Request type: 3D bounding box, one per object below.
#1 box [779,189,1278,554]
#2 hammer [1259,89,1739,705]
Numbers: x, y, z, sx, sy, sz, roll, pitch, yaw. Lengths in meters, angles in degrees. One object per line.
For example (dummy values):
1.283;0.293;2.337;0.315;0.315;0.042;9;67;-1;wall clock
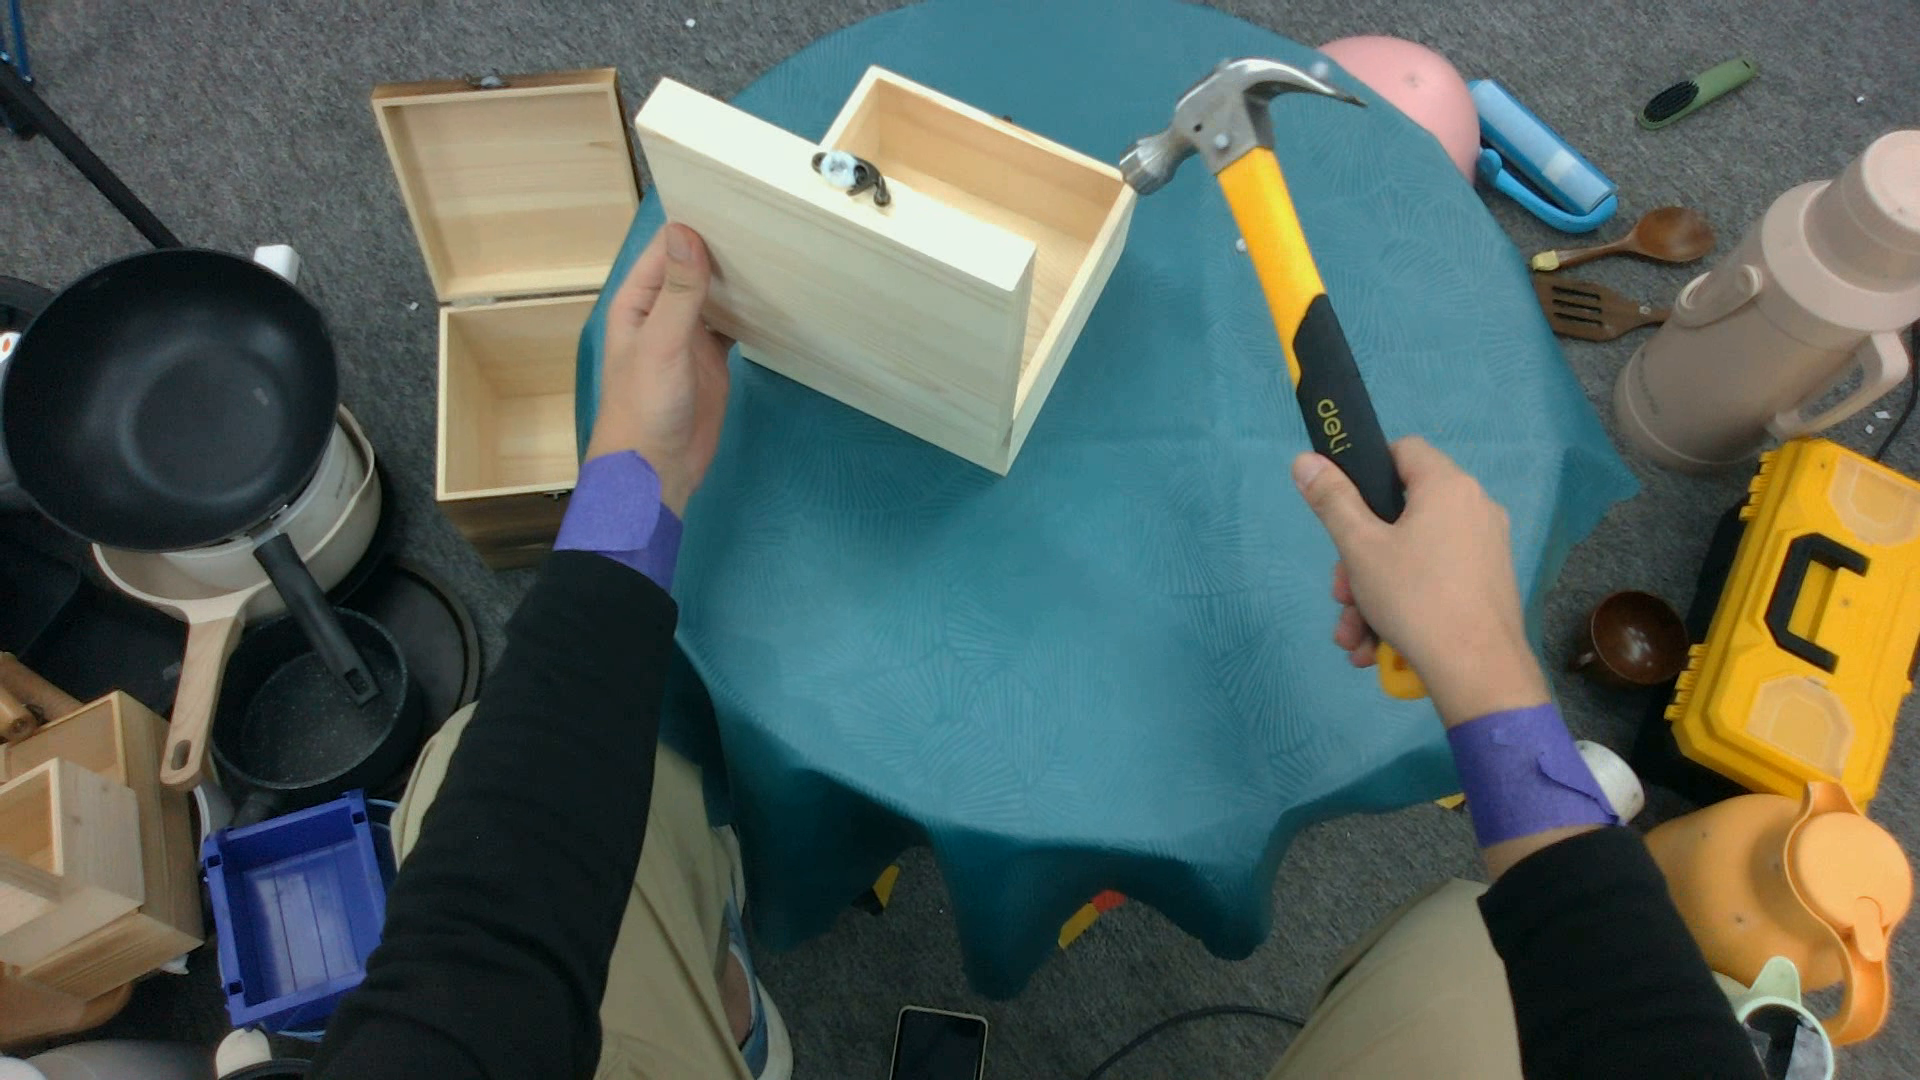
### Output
0.059;-0.115;0.748;0.181;0.252;0.266;13;66;14;box
0.266;-0.077;0.668;0.032;0.130;0.339;-4;62;-39;hammer
